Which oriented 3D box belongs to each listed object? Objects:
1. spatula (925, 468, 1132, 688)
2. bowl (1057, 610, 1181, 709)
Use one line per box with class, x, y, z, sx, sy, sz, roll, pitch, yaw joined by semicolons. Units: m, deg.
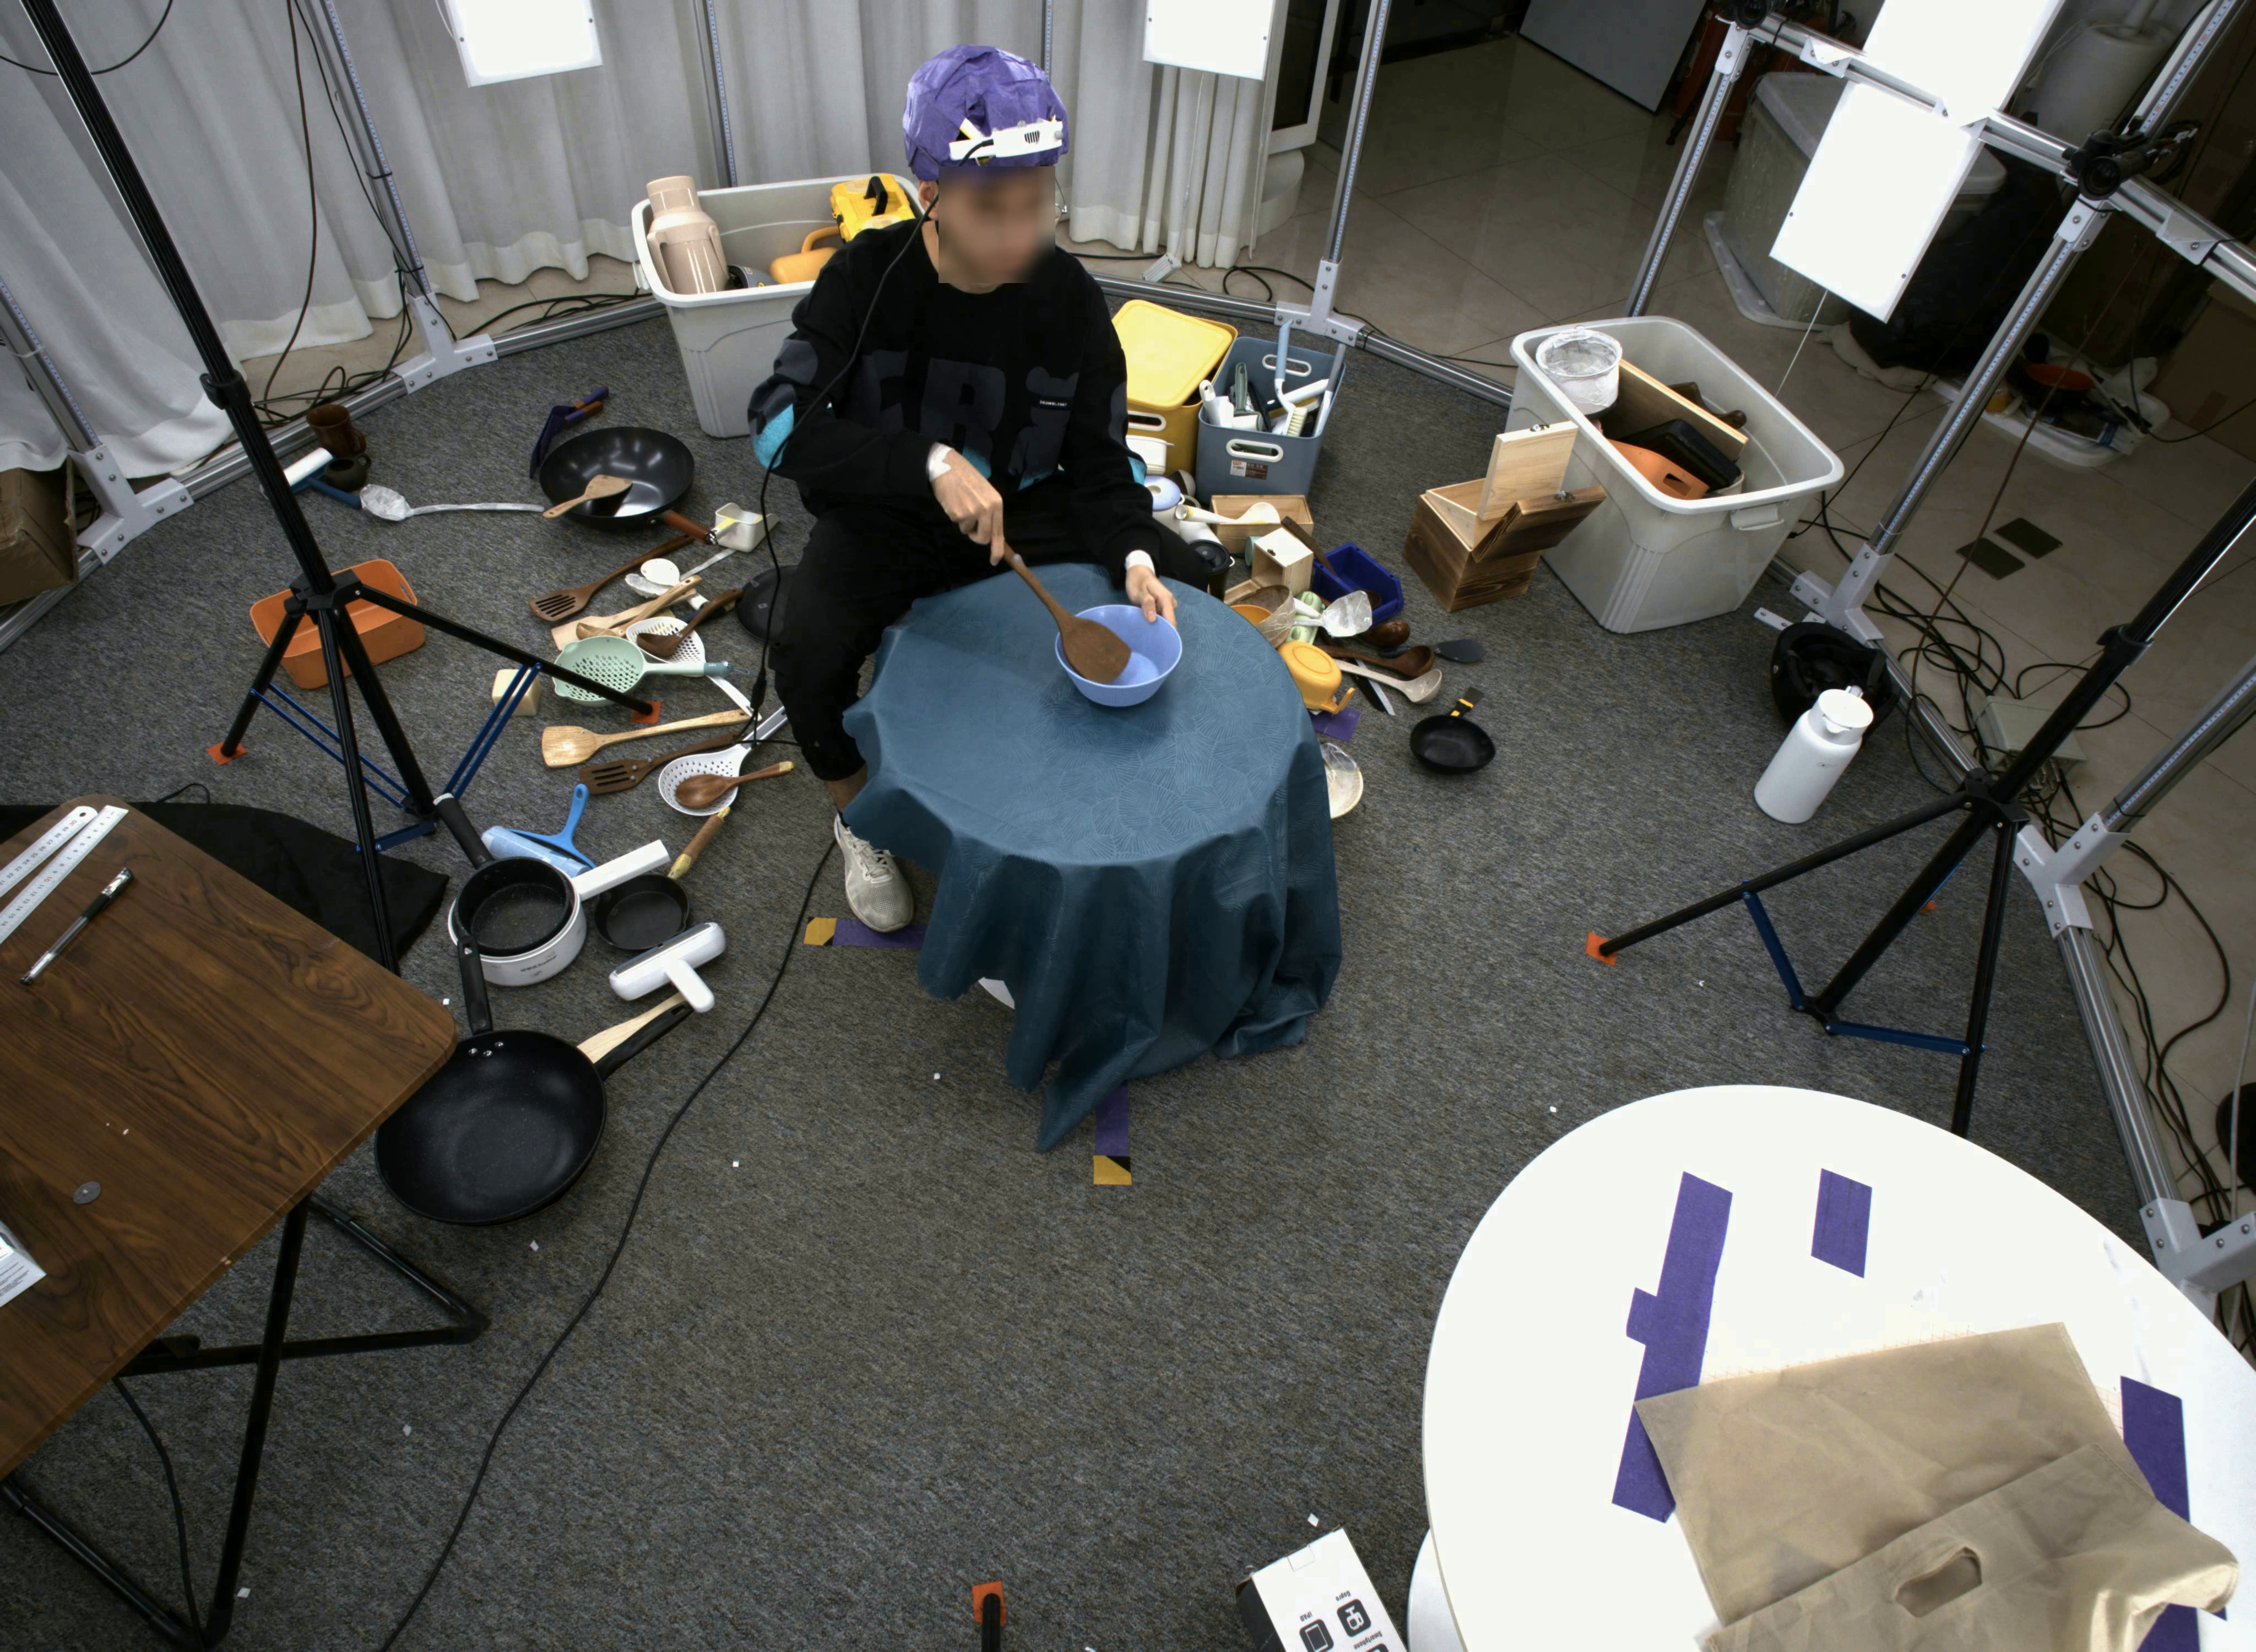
spatula;-0.142;-0.347;1.781;0.384;0.015;0.097;47;56;-6
bowl;-0.012;-0.229;1.829;0.176;0.068;0.180;0;46;-1
